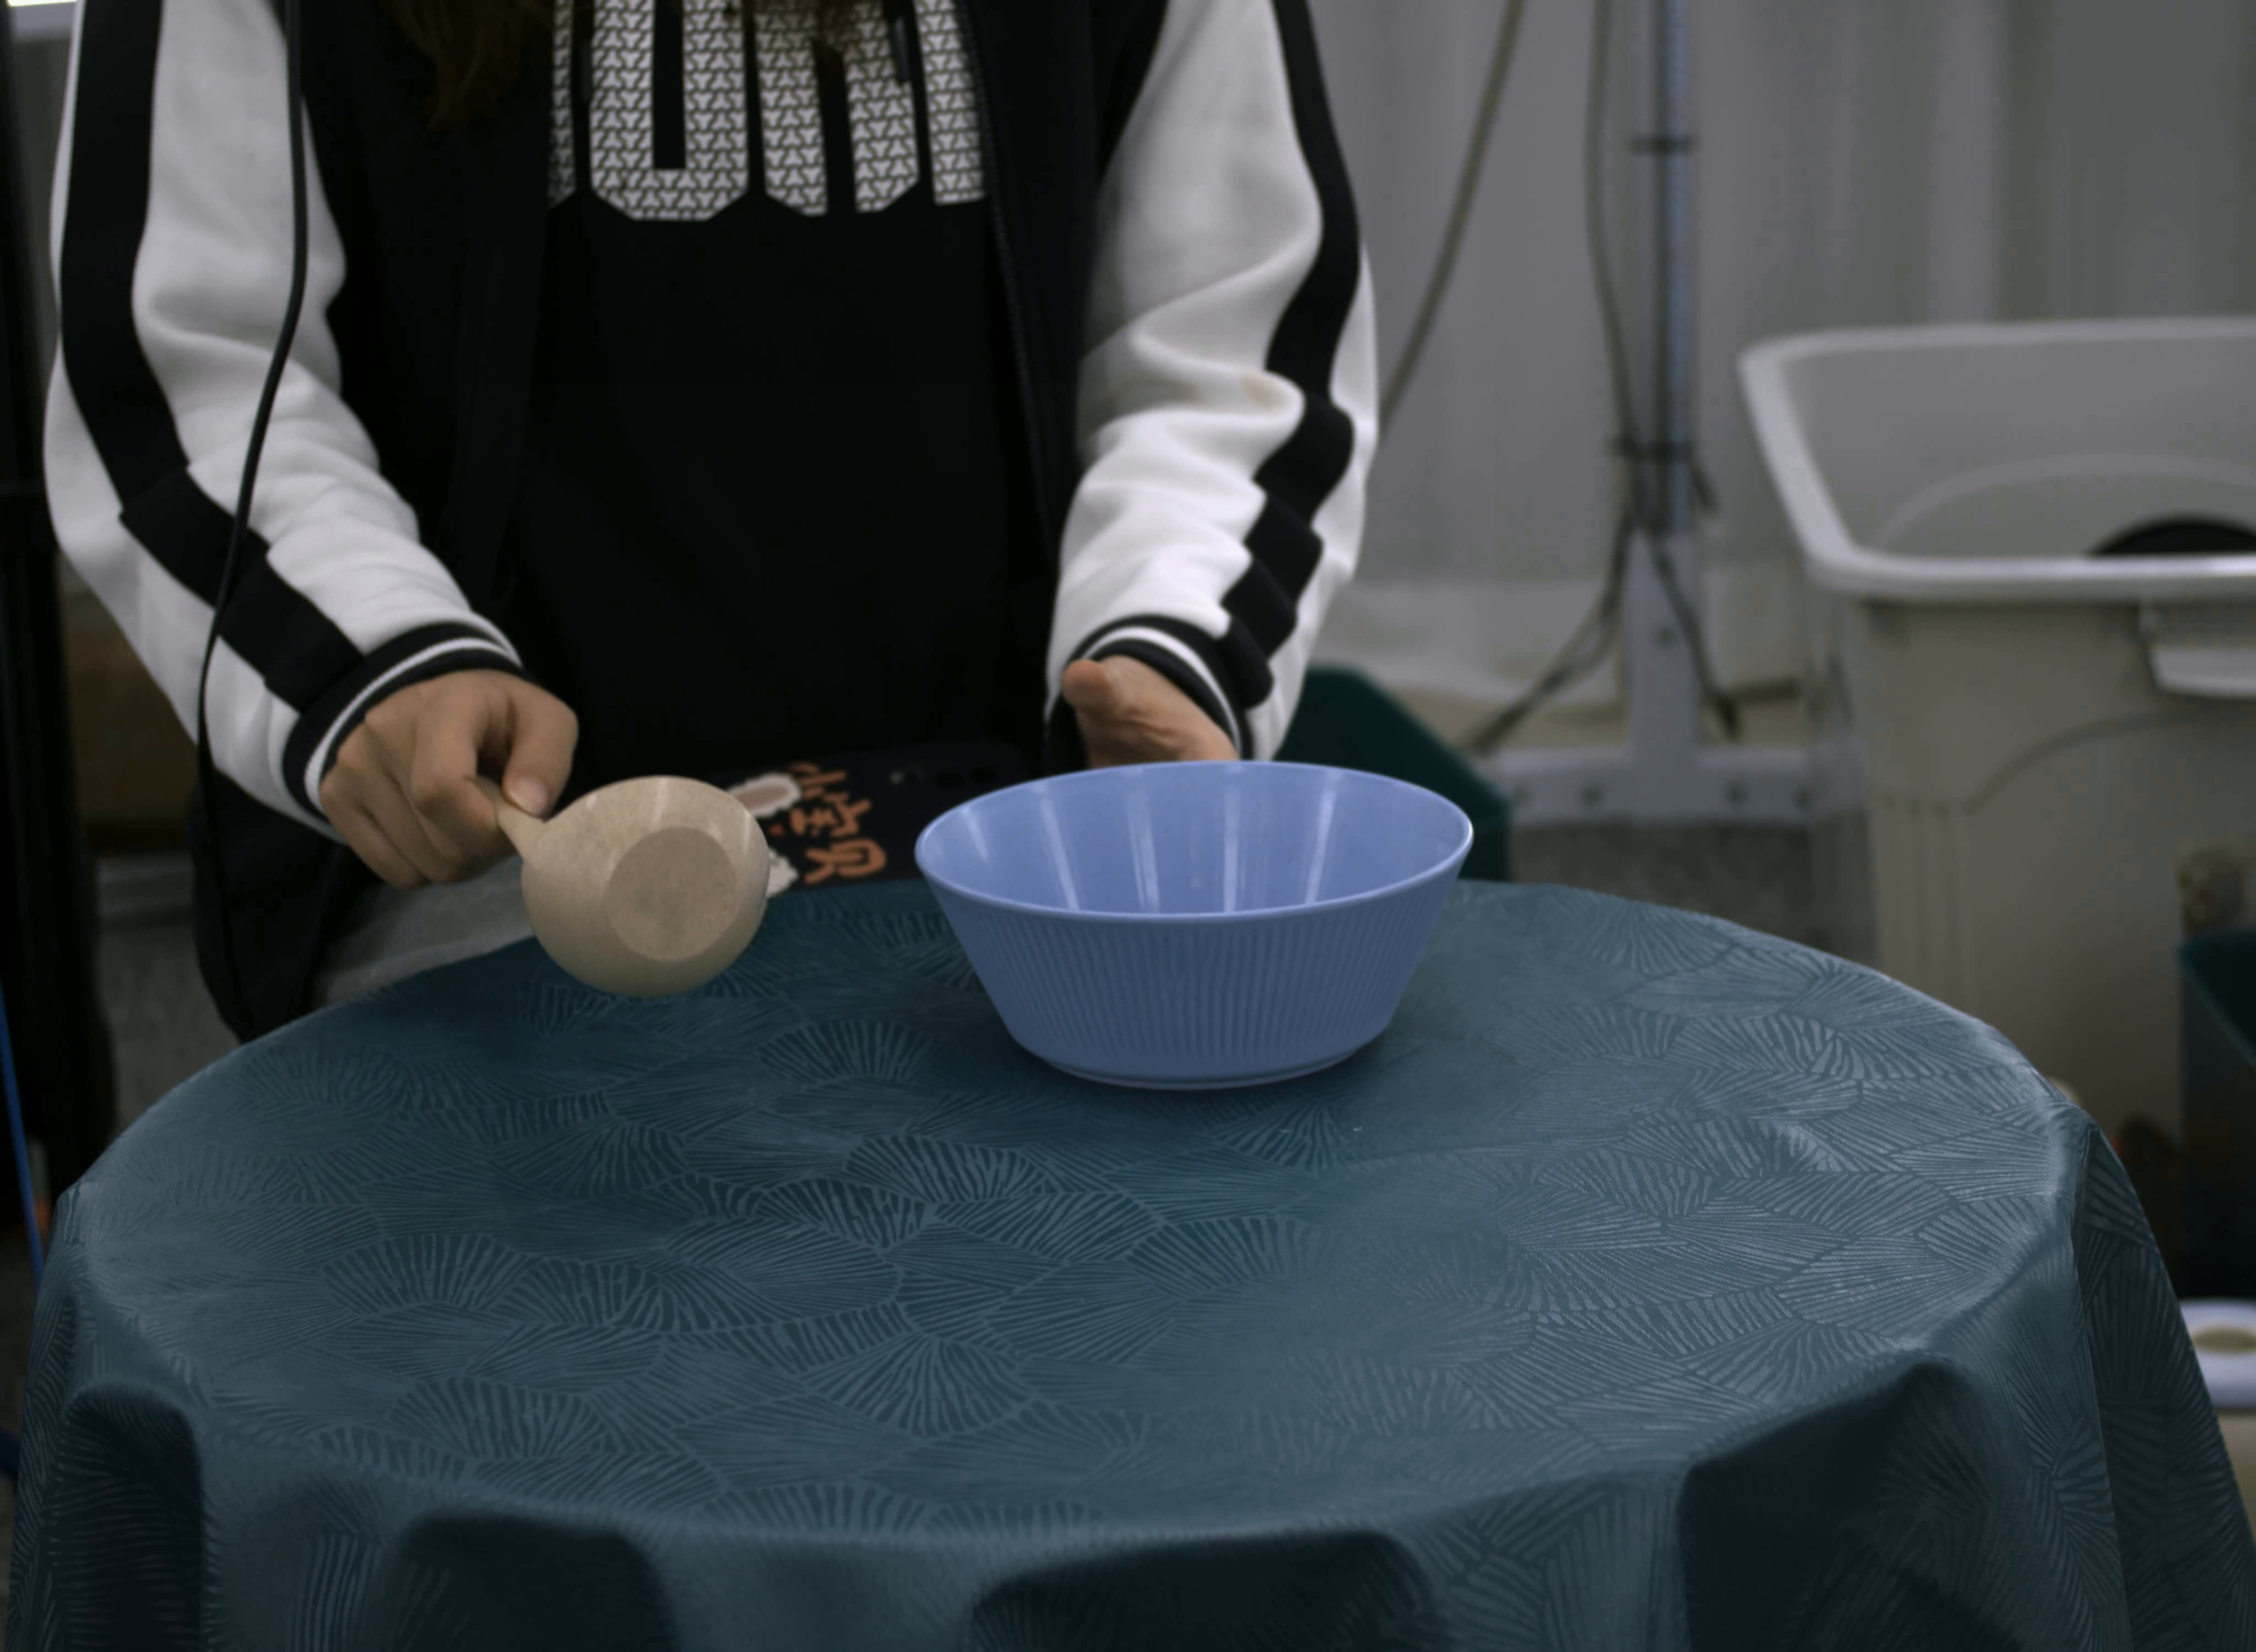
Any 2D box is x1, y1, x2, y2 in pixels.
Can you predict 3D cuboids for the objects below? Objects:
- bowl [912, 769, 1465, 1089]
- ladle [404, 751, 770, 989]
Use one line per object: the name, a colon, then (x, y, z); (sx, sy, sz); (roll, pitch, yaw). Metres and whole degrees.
bowl: (0.019, 0.035, 1.686); (0.175, 0.070, 0.177); (-2, 16, -1)
ladle: (-0.175, -0.016, 1.650); (0.070, 0.073, 0.259); (18, 10, -25)
